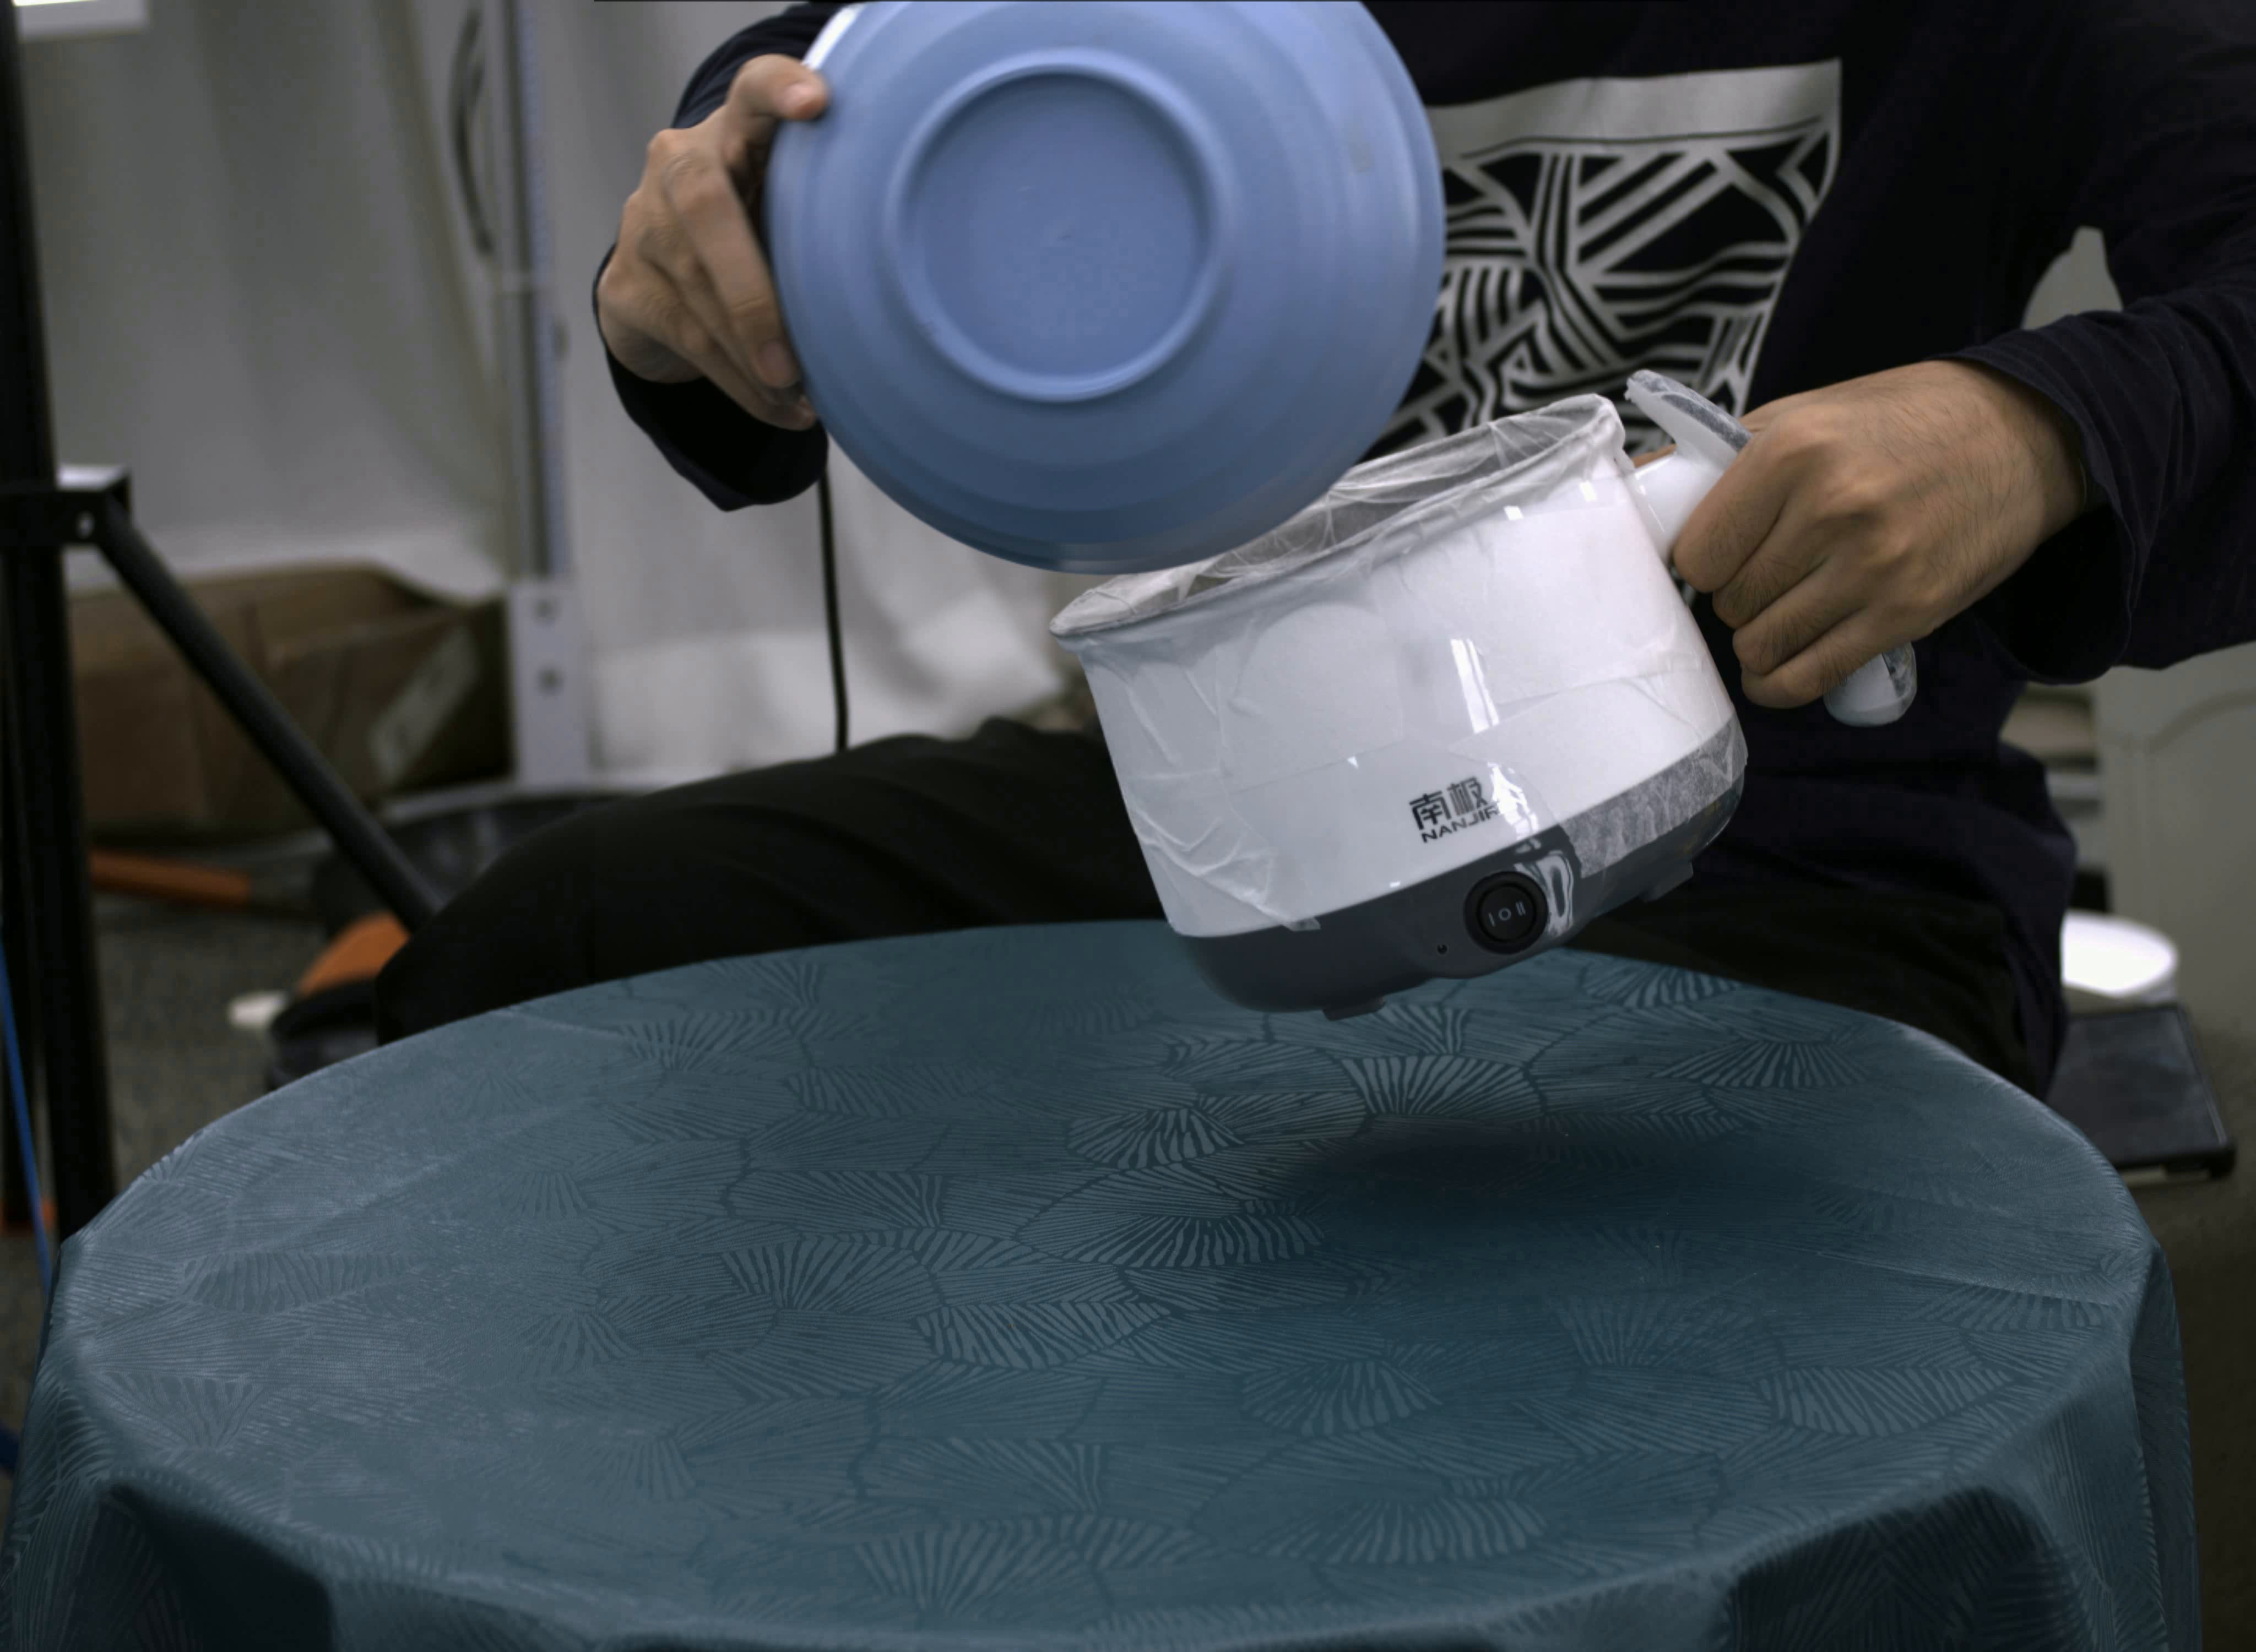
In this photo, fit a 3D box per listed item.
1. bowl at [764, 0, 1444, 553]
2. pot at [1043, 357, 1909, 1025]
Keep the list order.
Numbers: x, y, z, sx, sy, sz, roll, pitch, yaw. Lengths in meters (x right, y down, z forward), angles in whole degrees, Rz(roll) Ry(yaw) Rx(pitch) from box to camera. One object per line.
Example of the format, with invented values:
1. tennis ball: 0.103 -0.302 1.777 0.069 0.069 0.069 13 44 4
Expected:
1. bowl: -0.014 -0.167 1.476 0.197 0.197 0.095 1 11 10
2. pot: 0.106 -0.045 1.553 0.233 0.136 0.180 -24 11 -1
